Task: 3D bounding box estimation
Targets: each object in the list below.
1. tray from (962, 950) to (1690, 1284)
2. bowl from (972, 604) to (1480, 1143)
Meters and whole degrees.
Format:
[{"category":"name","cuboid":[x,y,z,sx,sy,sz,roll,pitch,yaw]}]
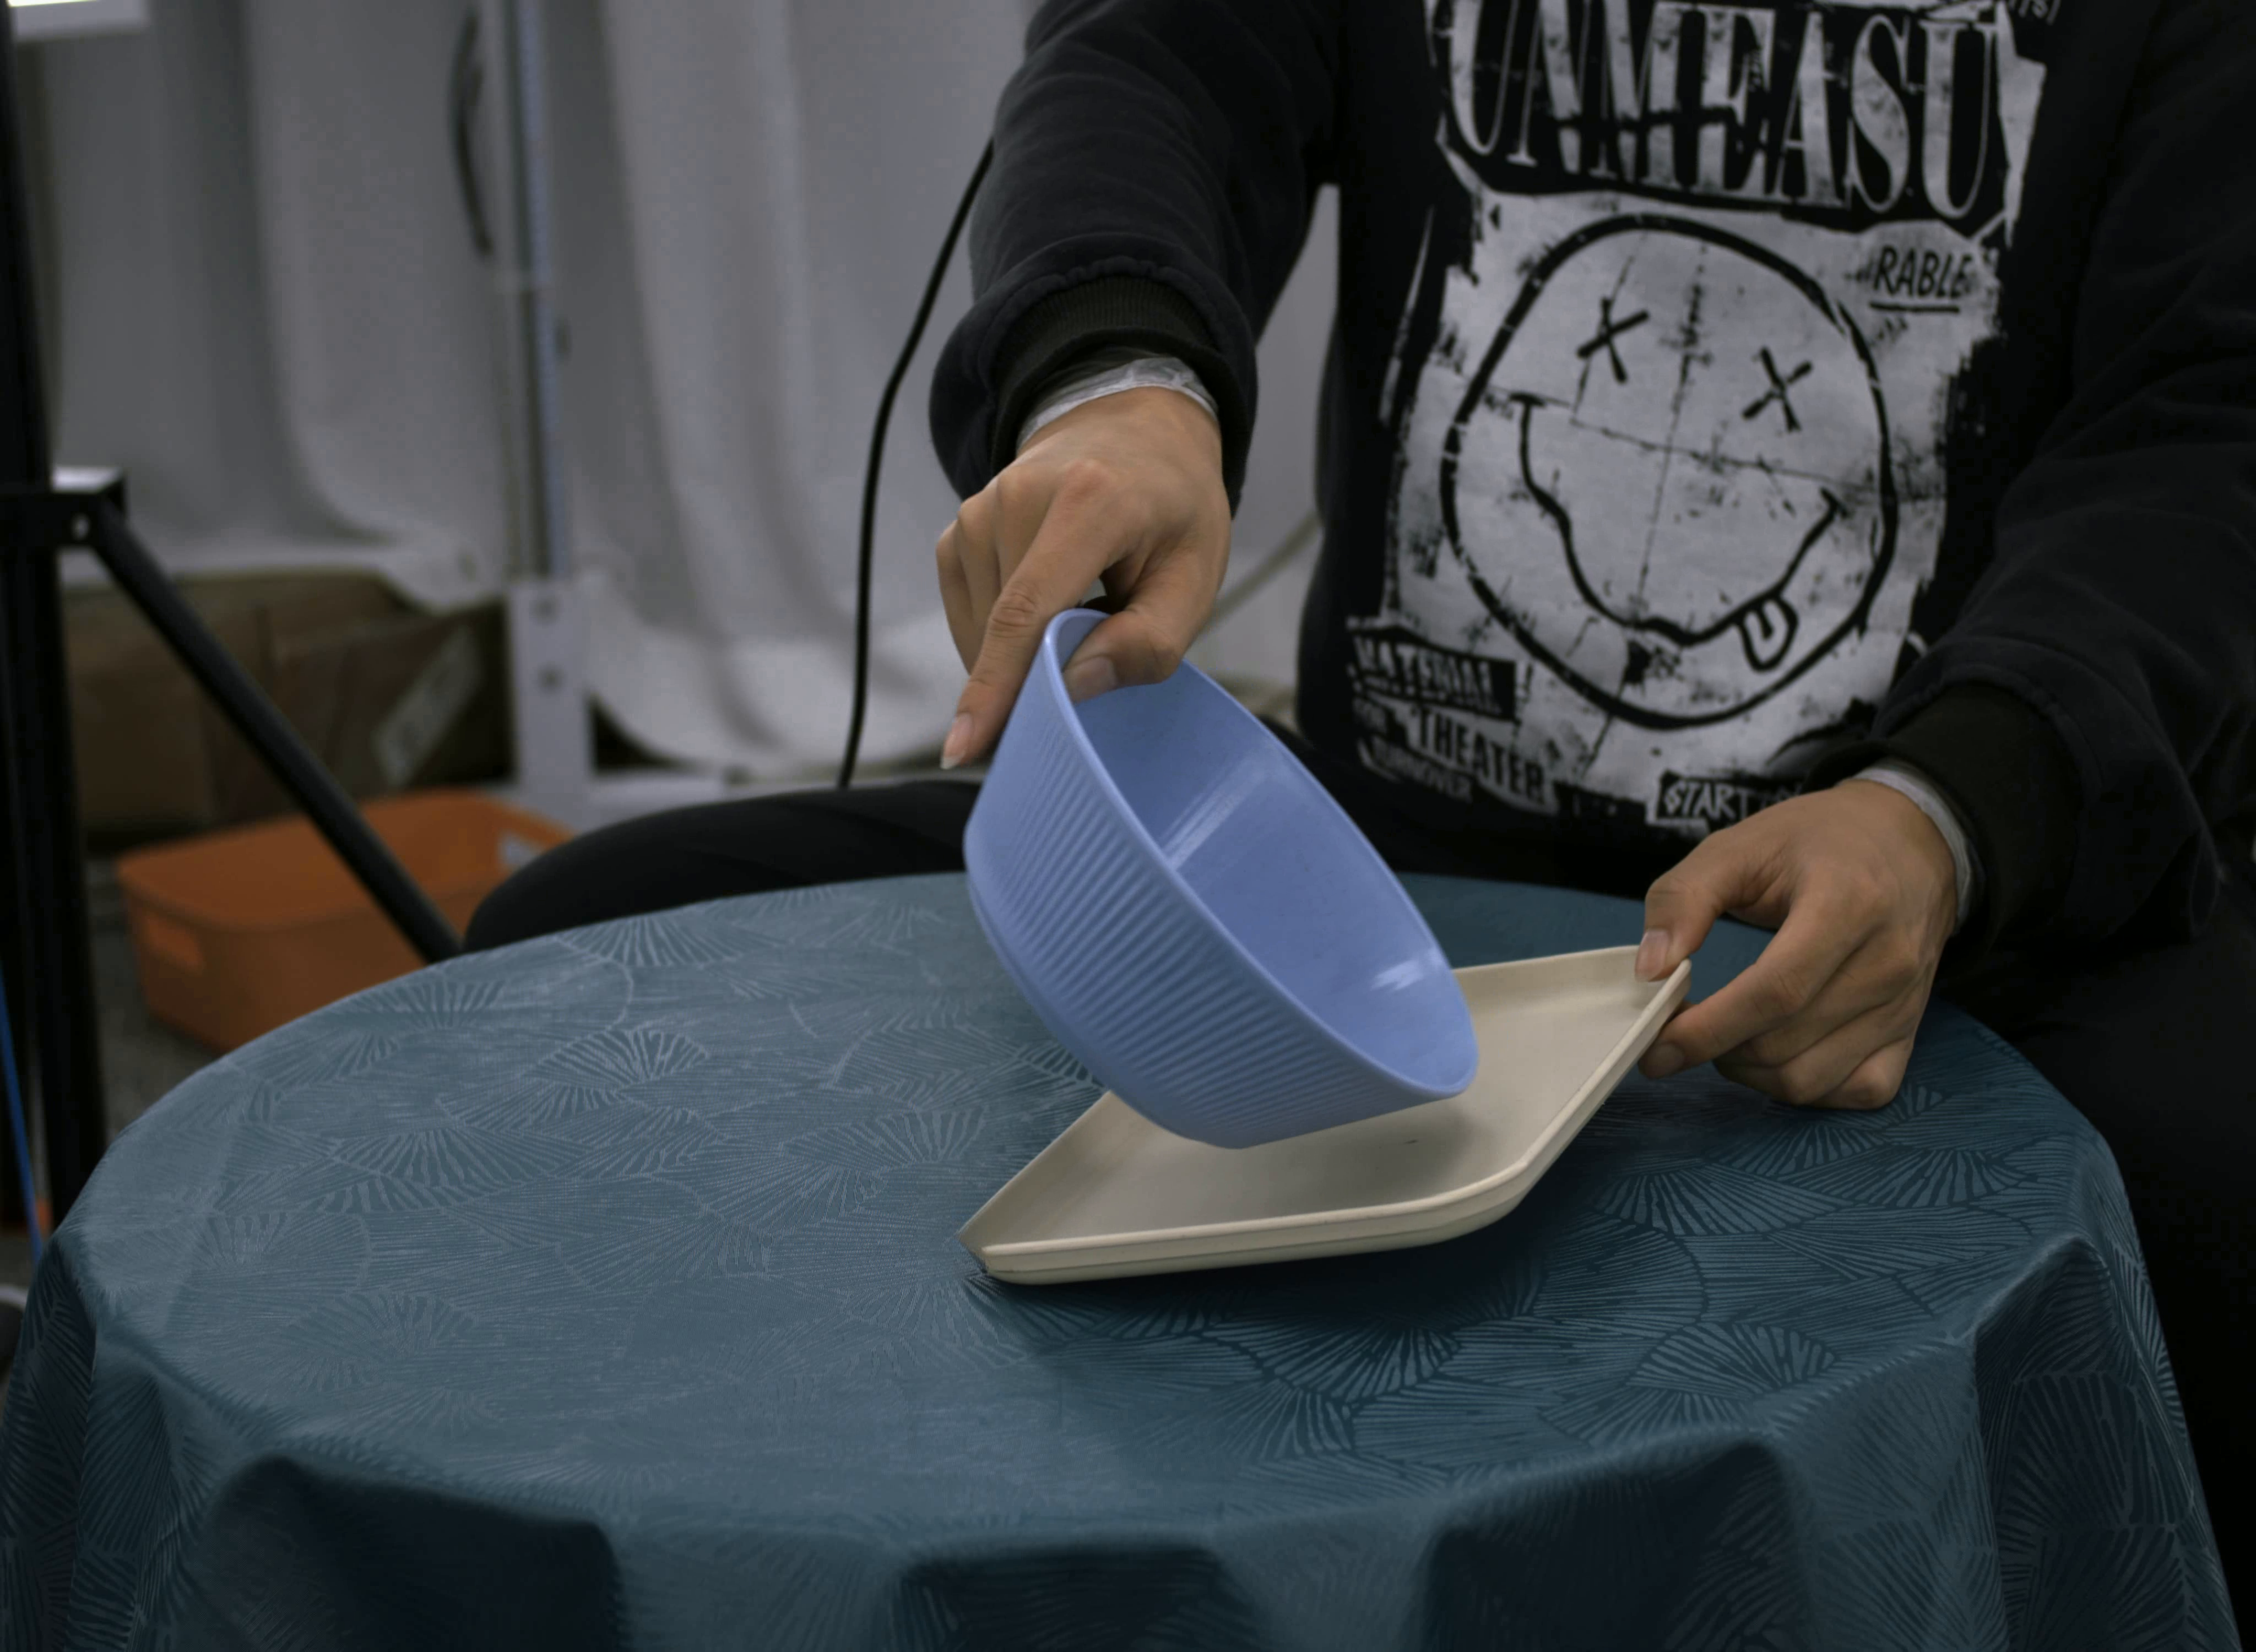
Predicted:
[{"category":"tray","cuboid":[0.063,0.085,1.549,0.173,0.017,0.237,-7,13,23]},{"category":"bowl","cuboid":[0.018,0.024,1.503,0.071,0.175,0.175,-42,6,16]}]
